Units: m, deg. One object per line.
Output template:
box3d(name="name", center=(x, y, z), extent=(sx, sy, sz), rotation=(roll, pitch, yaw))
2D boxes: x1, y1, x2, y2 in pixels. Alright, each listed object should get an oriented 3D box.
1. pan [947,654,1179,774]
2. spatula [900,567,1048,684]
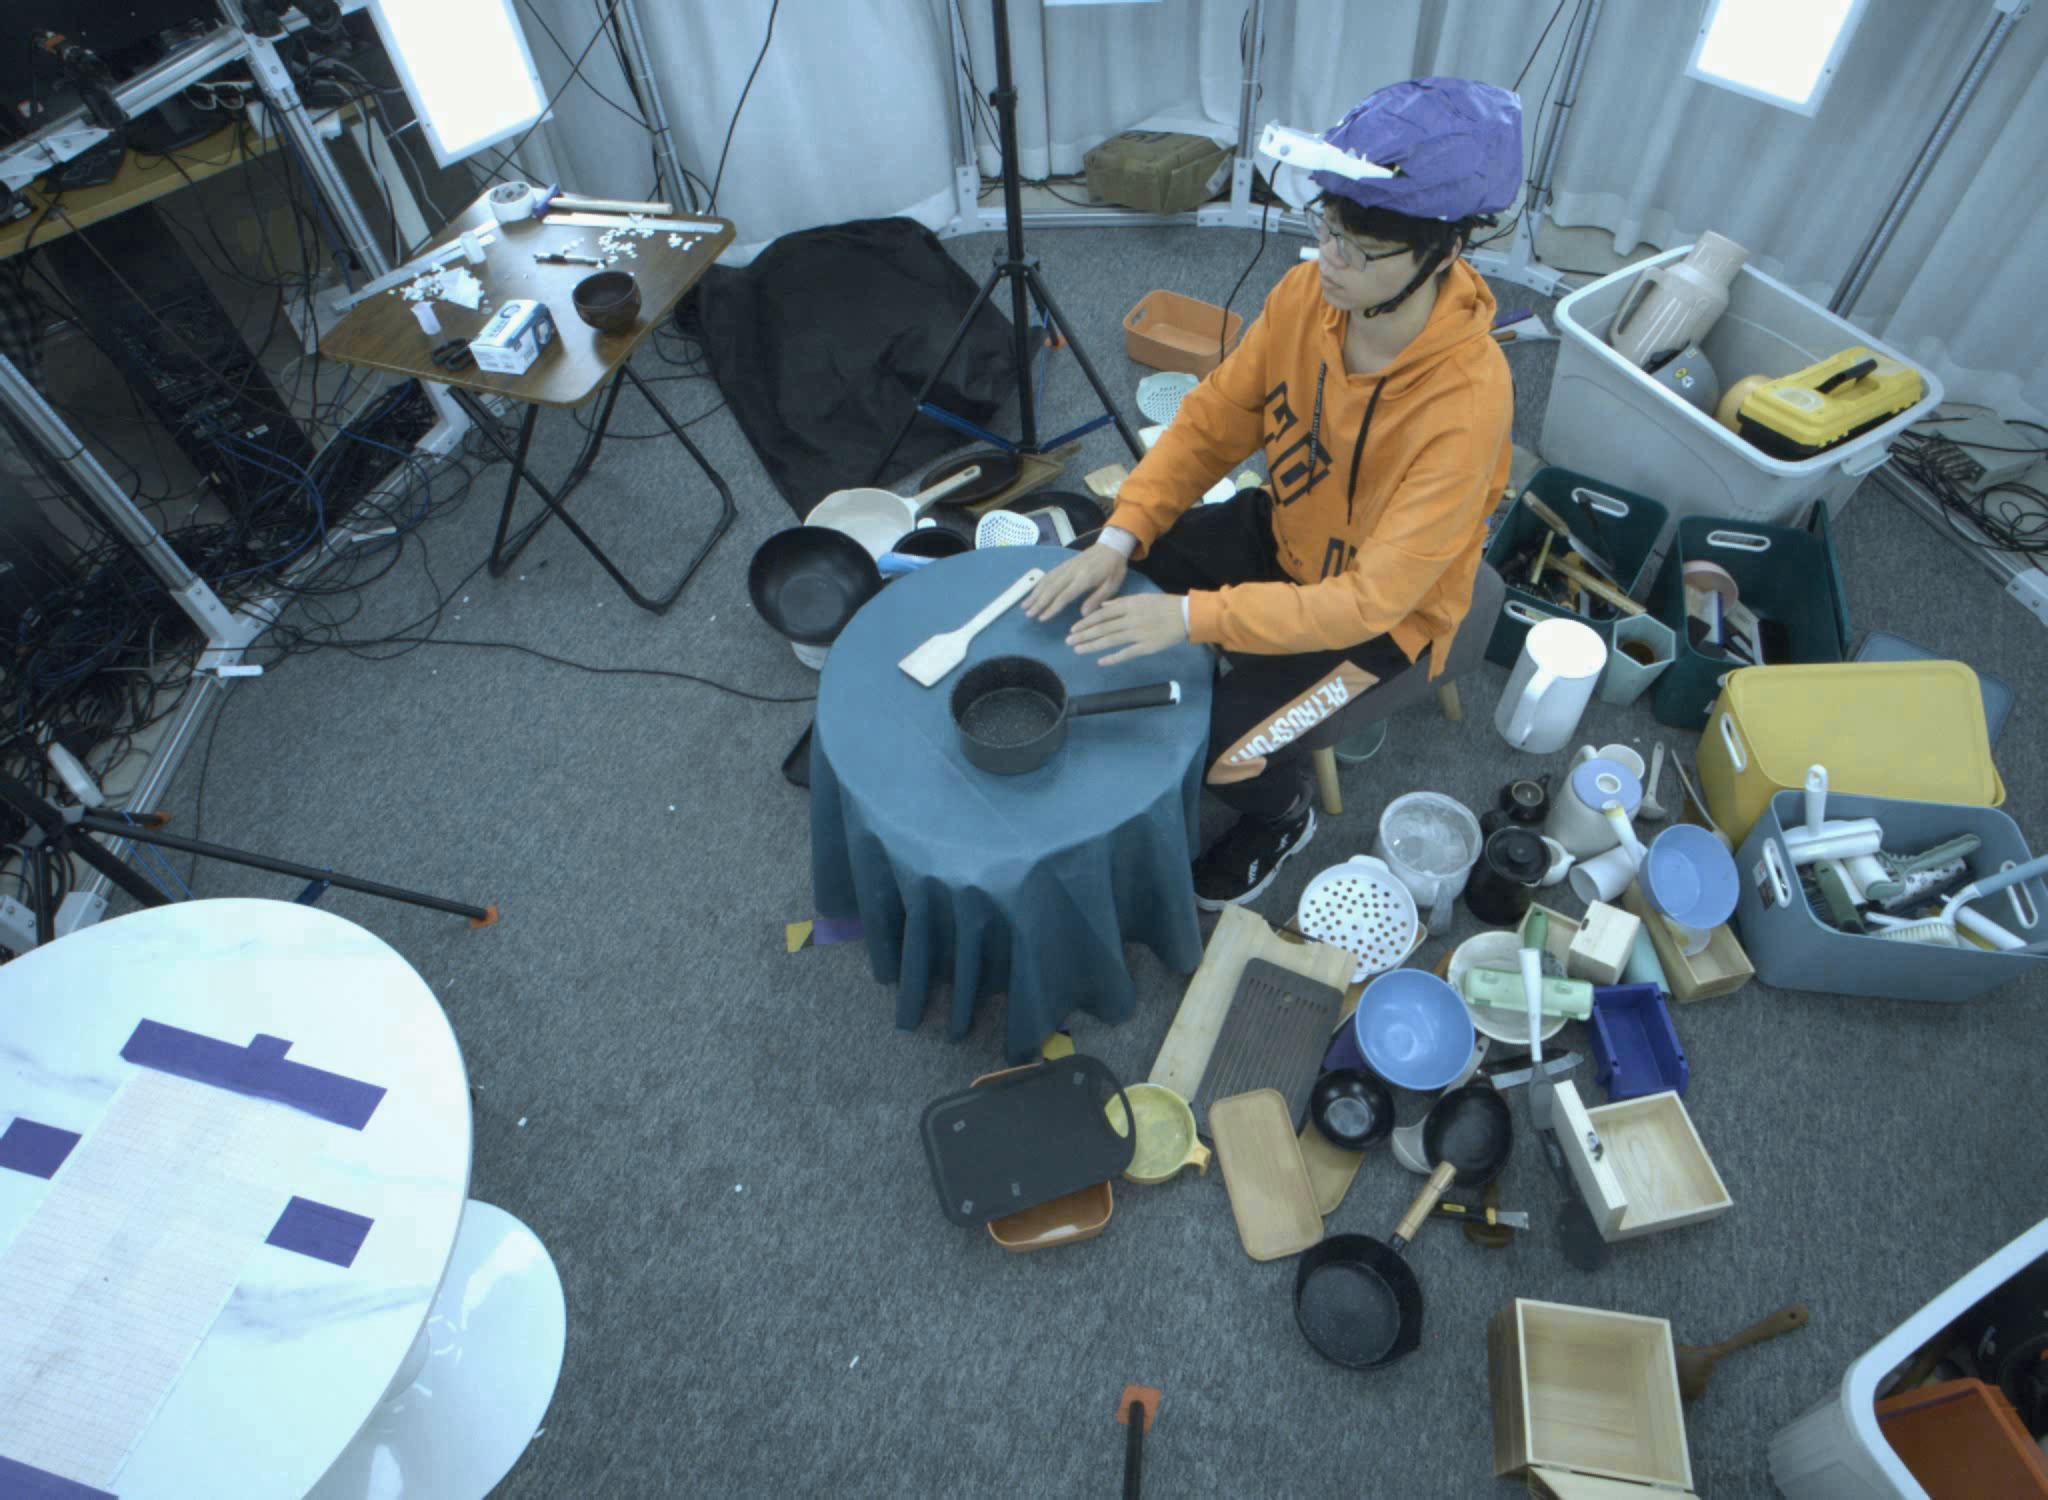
box3d(name="pan", center=(0.058, -0.053, 1.770), extent=(0.328, 0.087, 0.170), rotation=(-1, 55, 4))
box3d(name="spatula", center=(-0.070, -0.203, 1.927), extent=(0.071, 0.011, 0.295), rotation=(35, 63, 28))
